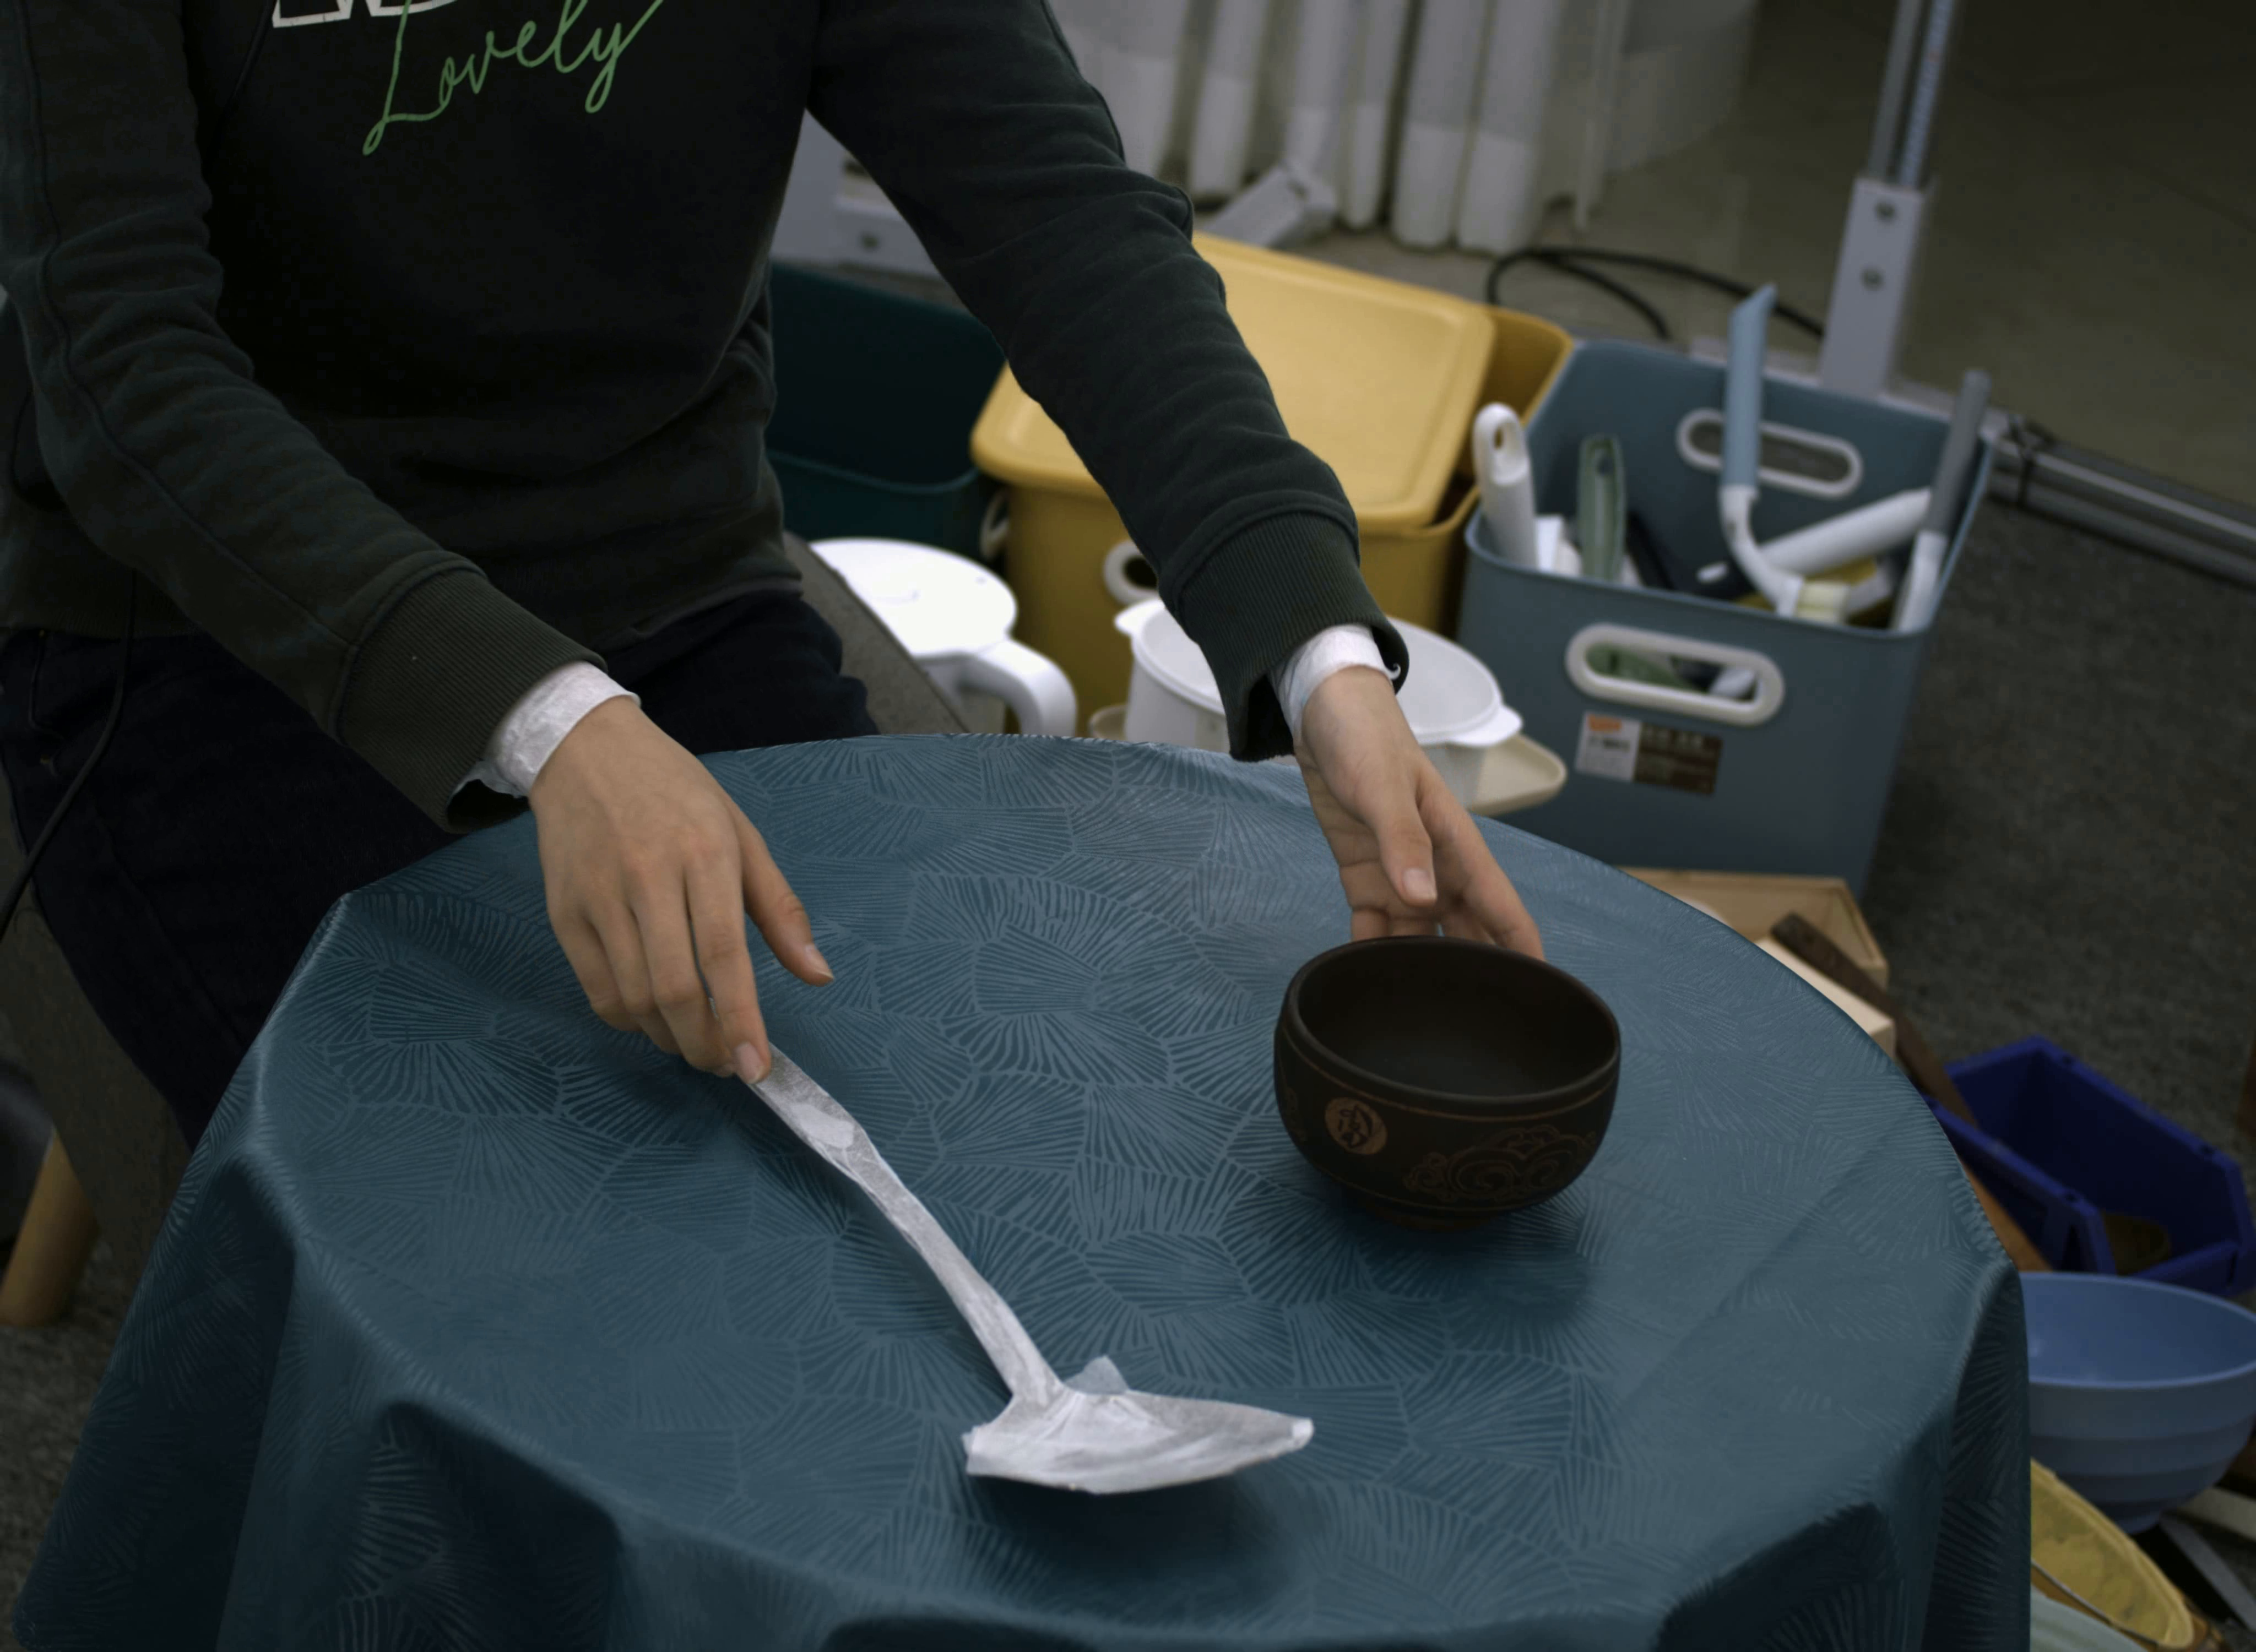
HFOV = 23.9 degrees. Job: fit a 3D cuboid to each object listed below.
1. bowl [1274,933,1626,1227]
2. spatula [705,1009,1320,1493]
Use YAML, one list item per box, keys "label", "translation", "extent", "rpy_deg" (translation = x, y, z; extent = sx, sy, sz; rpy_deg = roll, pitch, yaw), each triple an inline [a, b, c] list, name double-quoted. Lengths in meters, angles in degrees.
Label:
- label: "bowl"
  translation: [0.106, 0.093, 1.806]
  extent: [0.117, 0.069, 0.119]
  rpy_deg: [6, 25, -3]
- label: "spatula"
  translation: [-0.062, 0.130, 1.732]
  extent: [0.098, 0.044, 0.368]
  rpy_deg: [-10, 31, -26]
